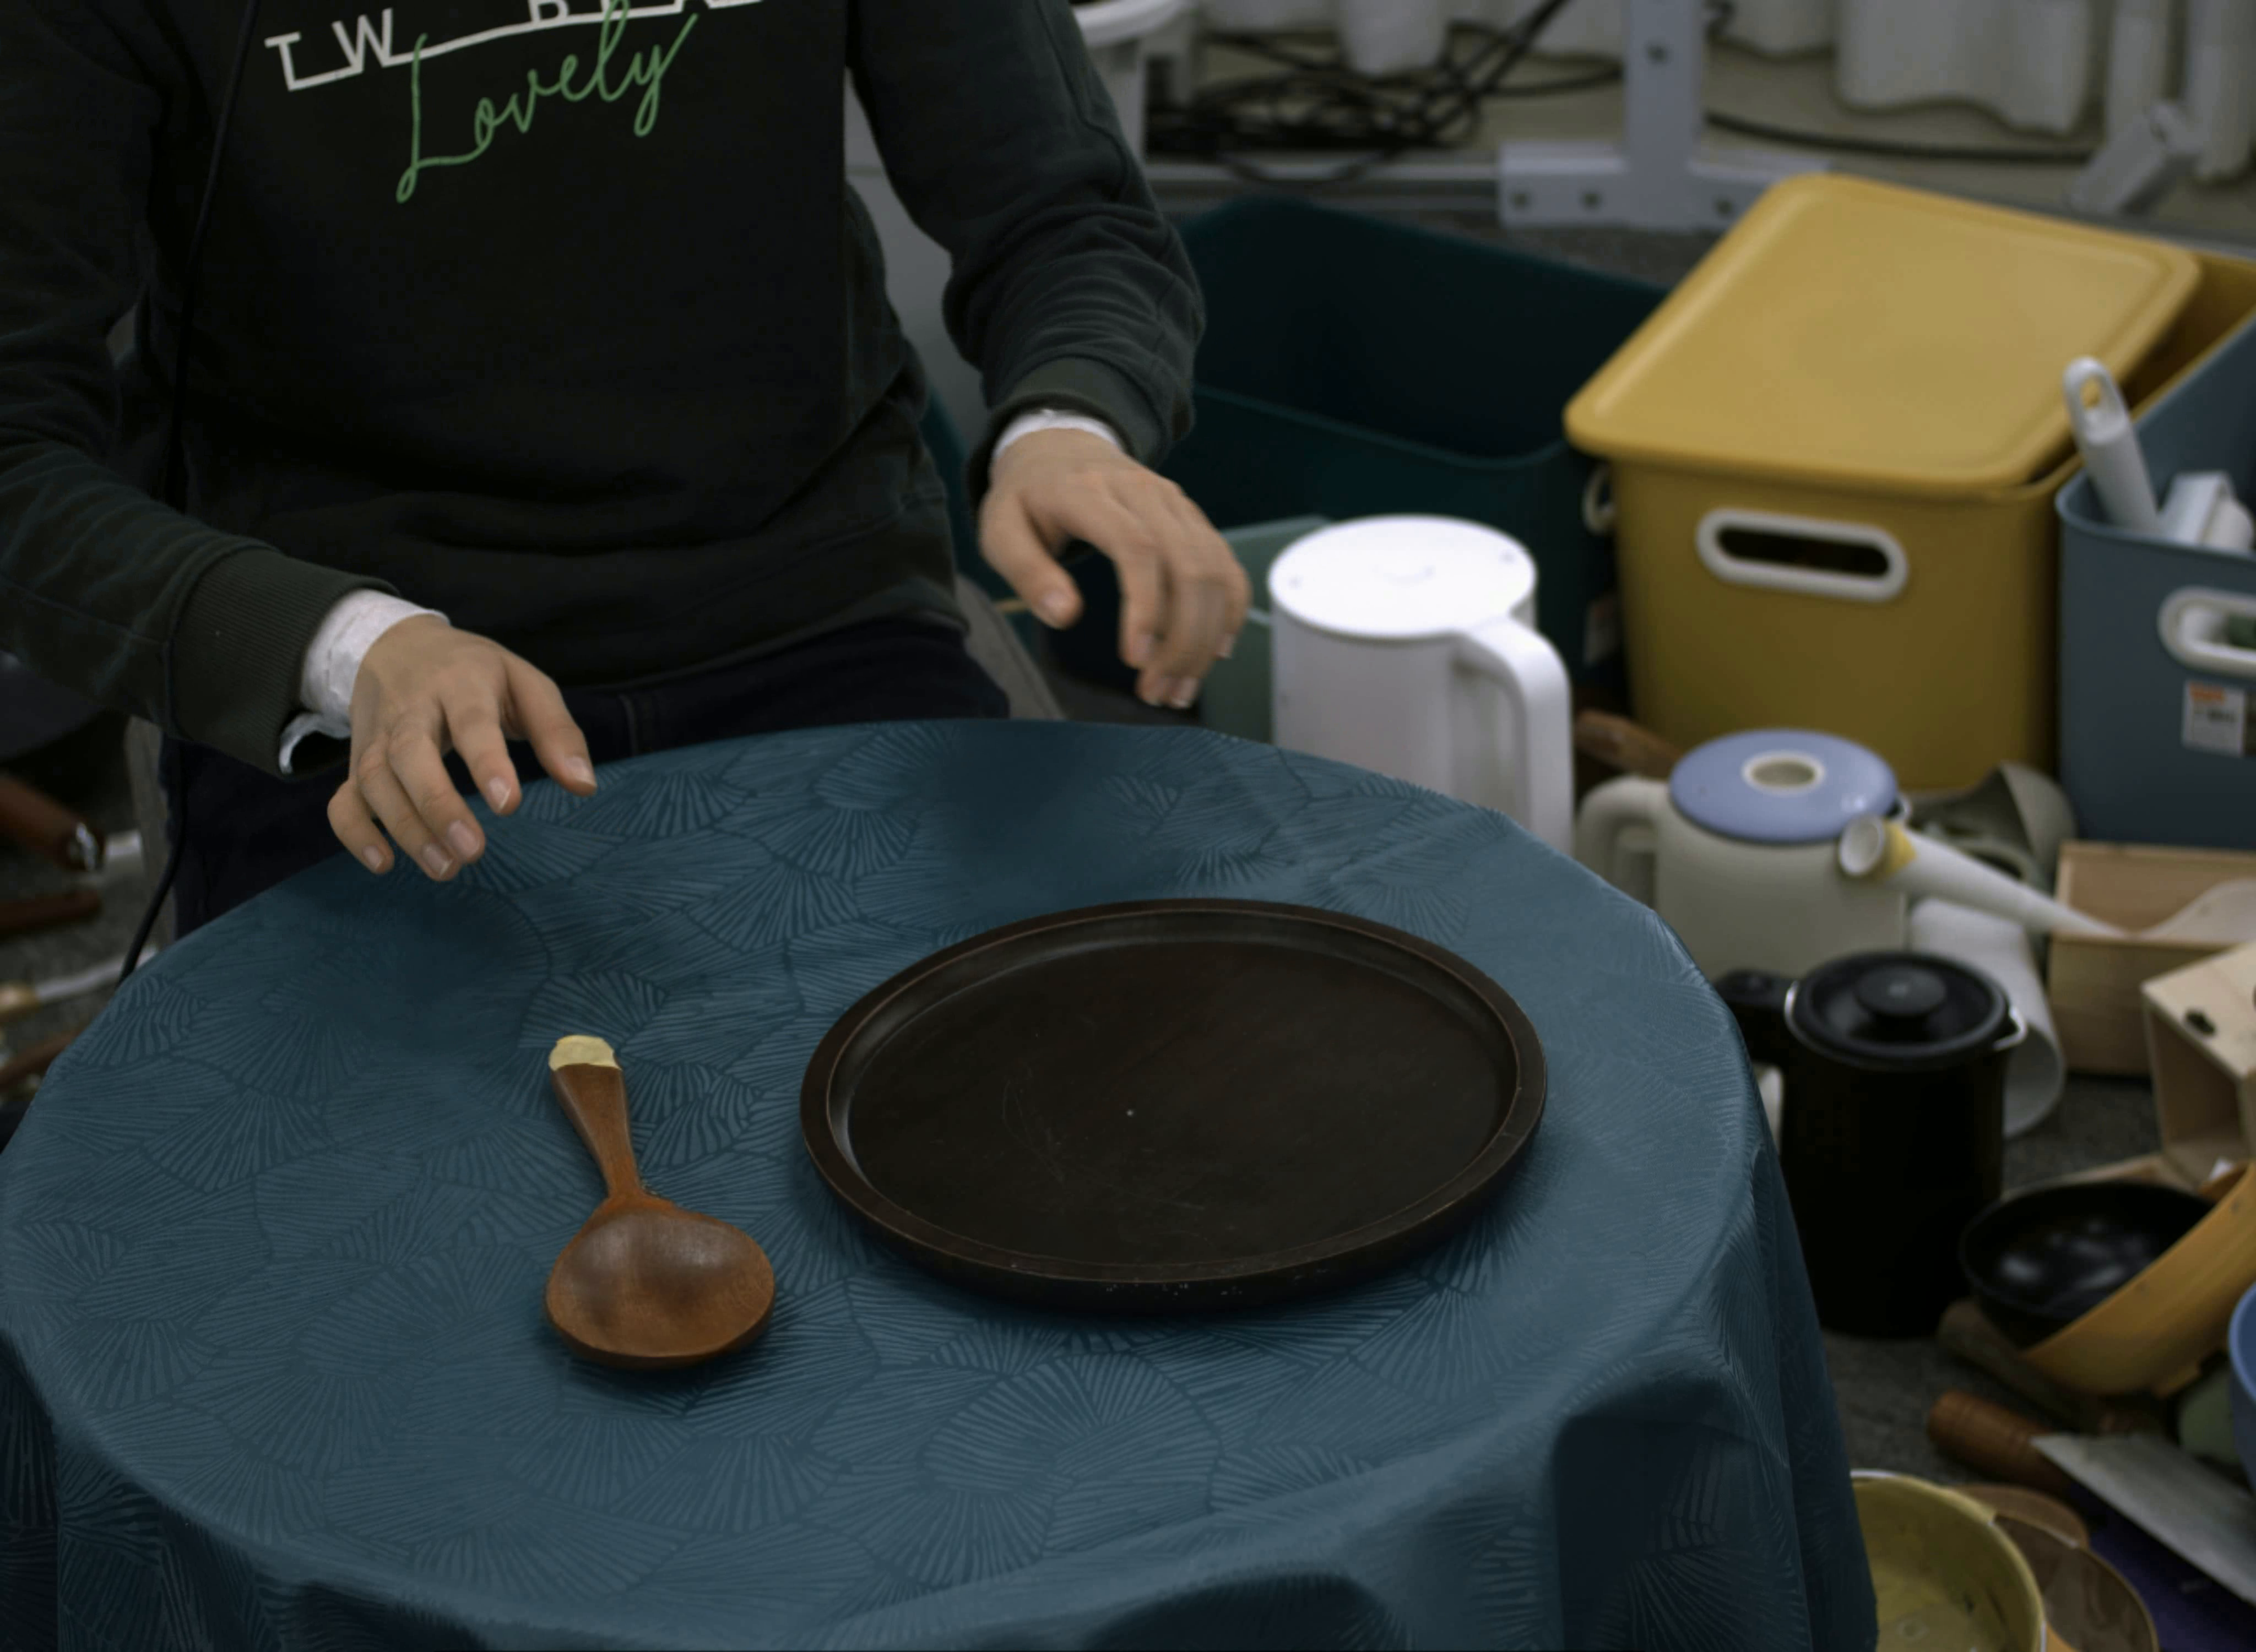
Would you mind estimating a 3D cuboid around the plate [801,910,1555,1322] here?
[{"bbox_3d":[0.016,0.095,1.888,0.253,0.029,0.259,-1,28,1],"label":"plate"}]

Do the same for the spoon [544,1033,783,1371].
[{"bbox_3d":[-0.164,0.125,1.853,0.075,0.017,0.218,-9,28,-11],"label":"spoon"}]
